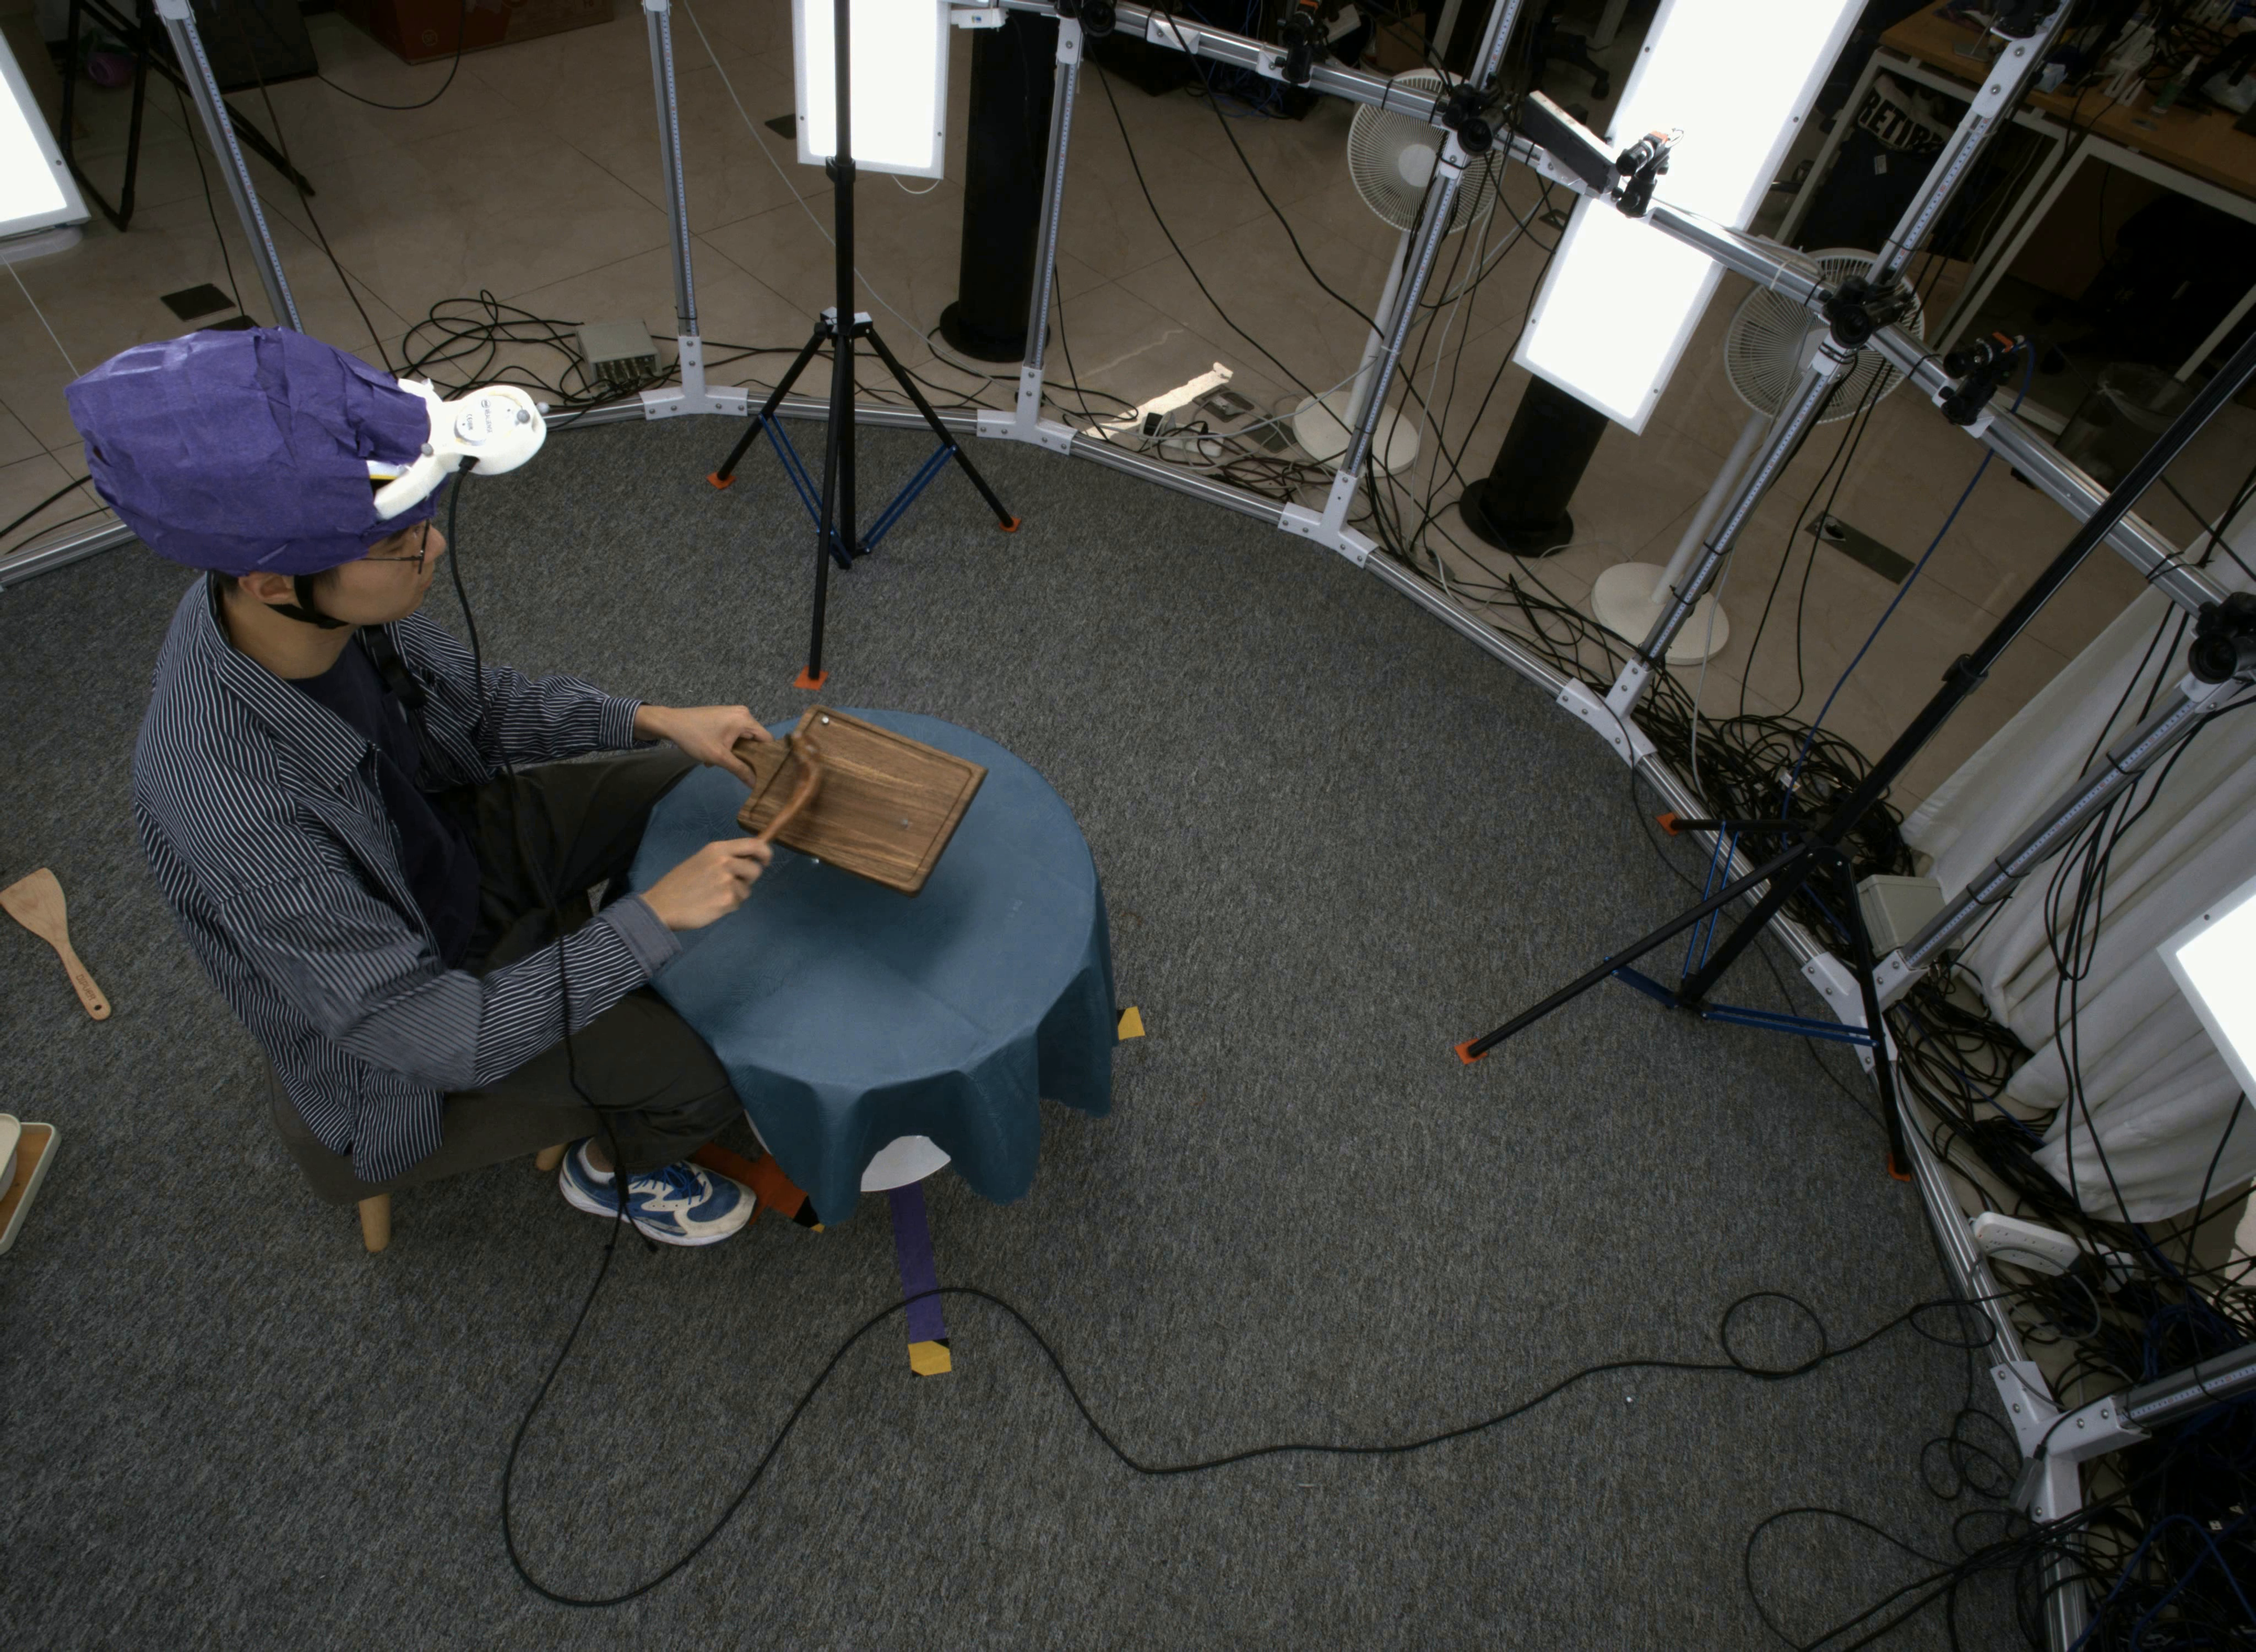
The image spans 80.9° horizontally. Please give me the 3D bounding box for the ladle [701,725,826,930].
[{"bbox_3d":[-0.444,-0.005,1.533,0.075,0.084,0.273,25,61,15],"label":"ladle"}]

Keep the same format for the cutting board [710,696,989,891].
[{"bbox_3d":[-0.370,-0.064,1.630,0.346,0.024,0.200,22,62,7],"label":"cutting board"}]
